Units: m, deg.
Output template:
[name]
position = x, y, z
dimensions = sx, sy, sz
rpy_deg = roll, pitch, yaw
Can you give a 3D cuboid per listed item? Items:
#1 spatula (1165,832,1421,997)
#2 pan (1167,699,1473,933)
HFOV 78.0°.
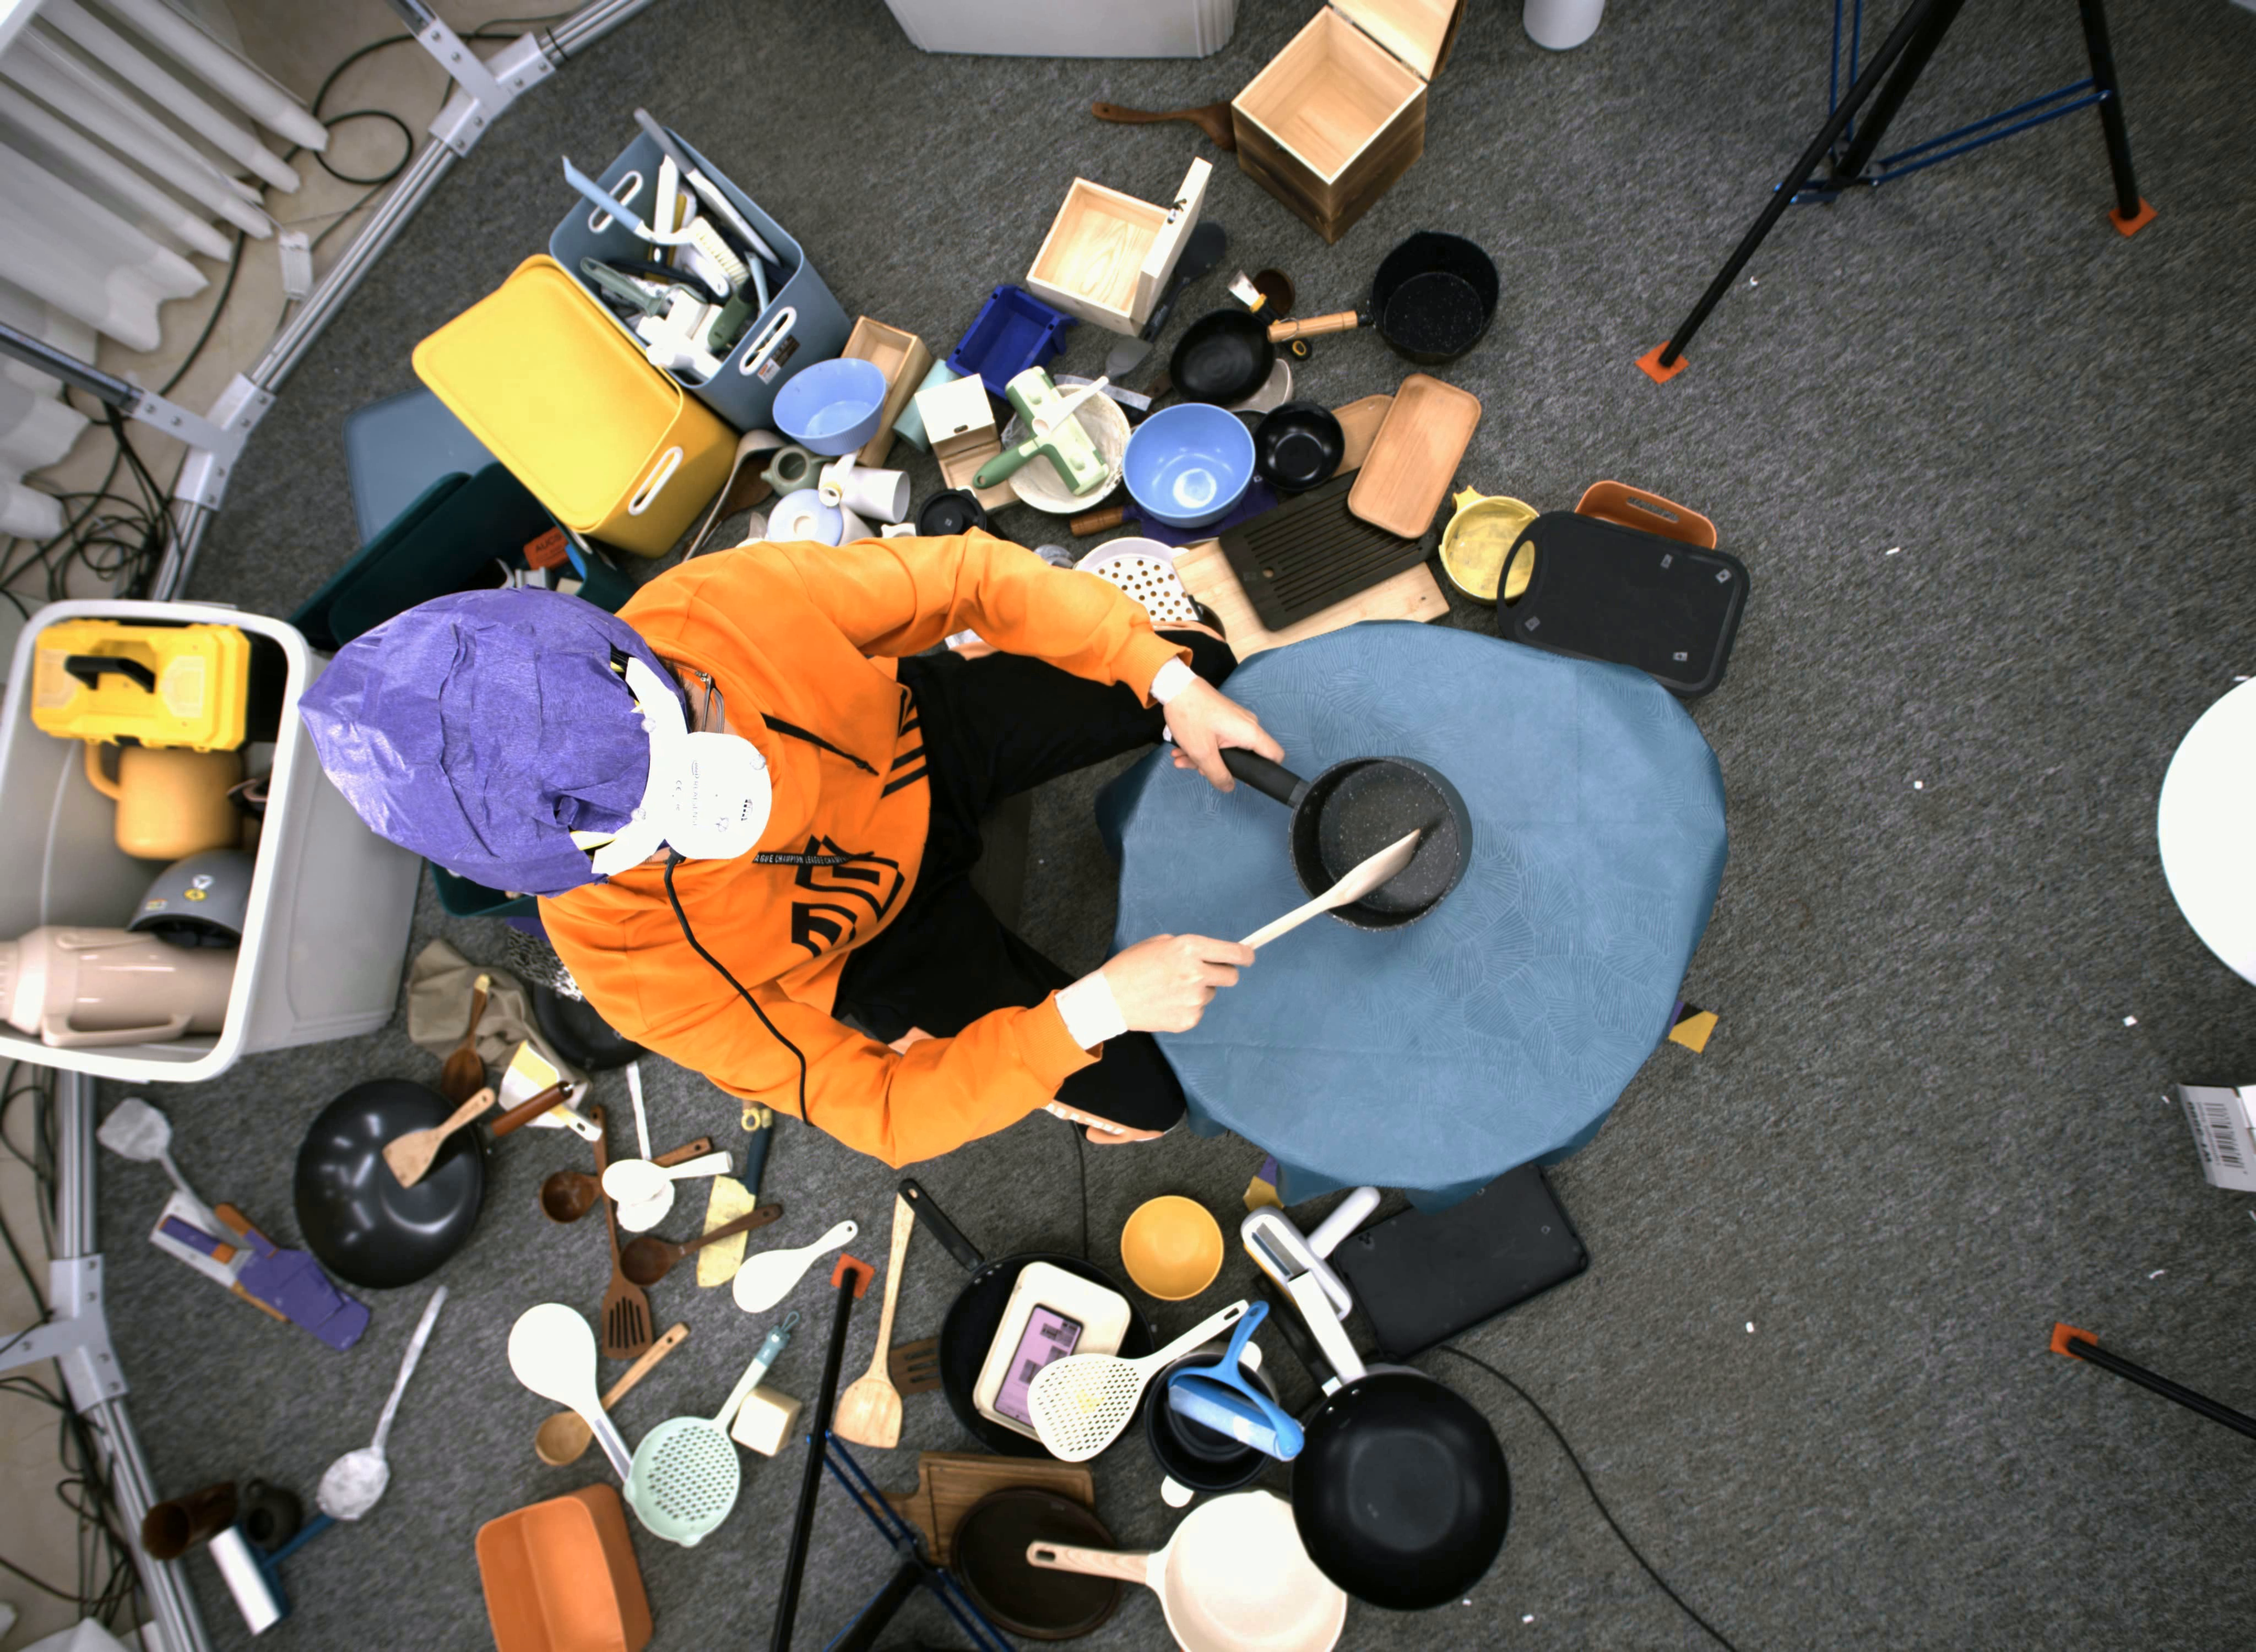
[spatula]
position = 0.159, 0.087, 1.316
dimensions = 0.291, 0.074, 0.010
rpy_deg = -28, 66, -13
[pan]
position = 0.187, -0.029, 1.378
dimensions = 0.327, 0.085, 0.175
rpy_deg = 34, 110, 16
